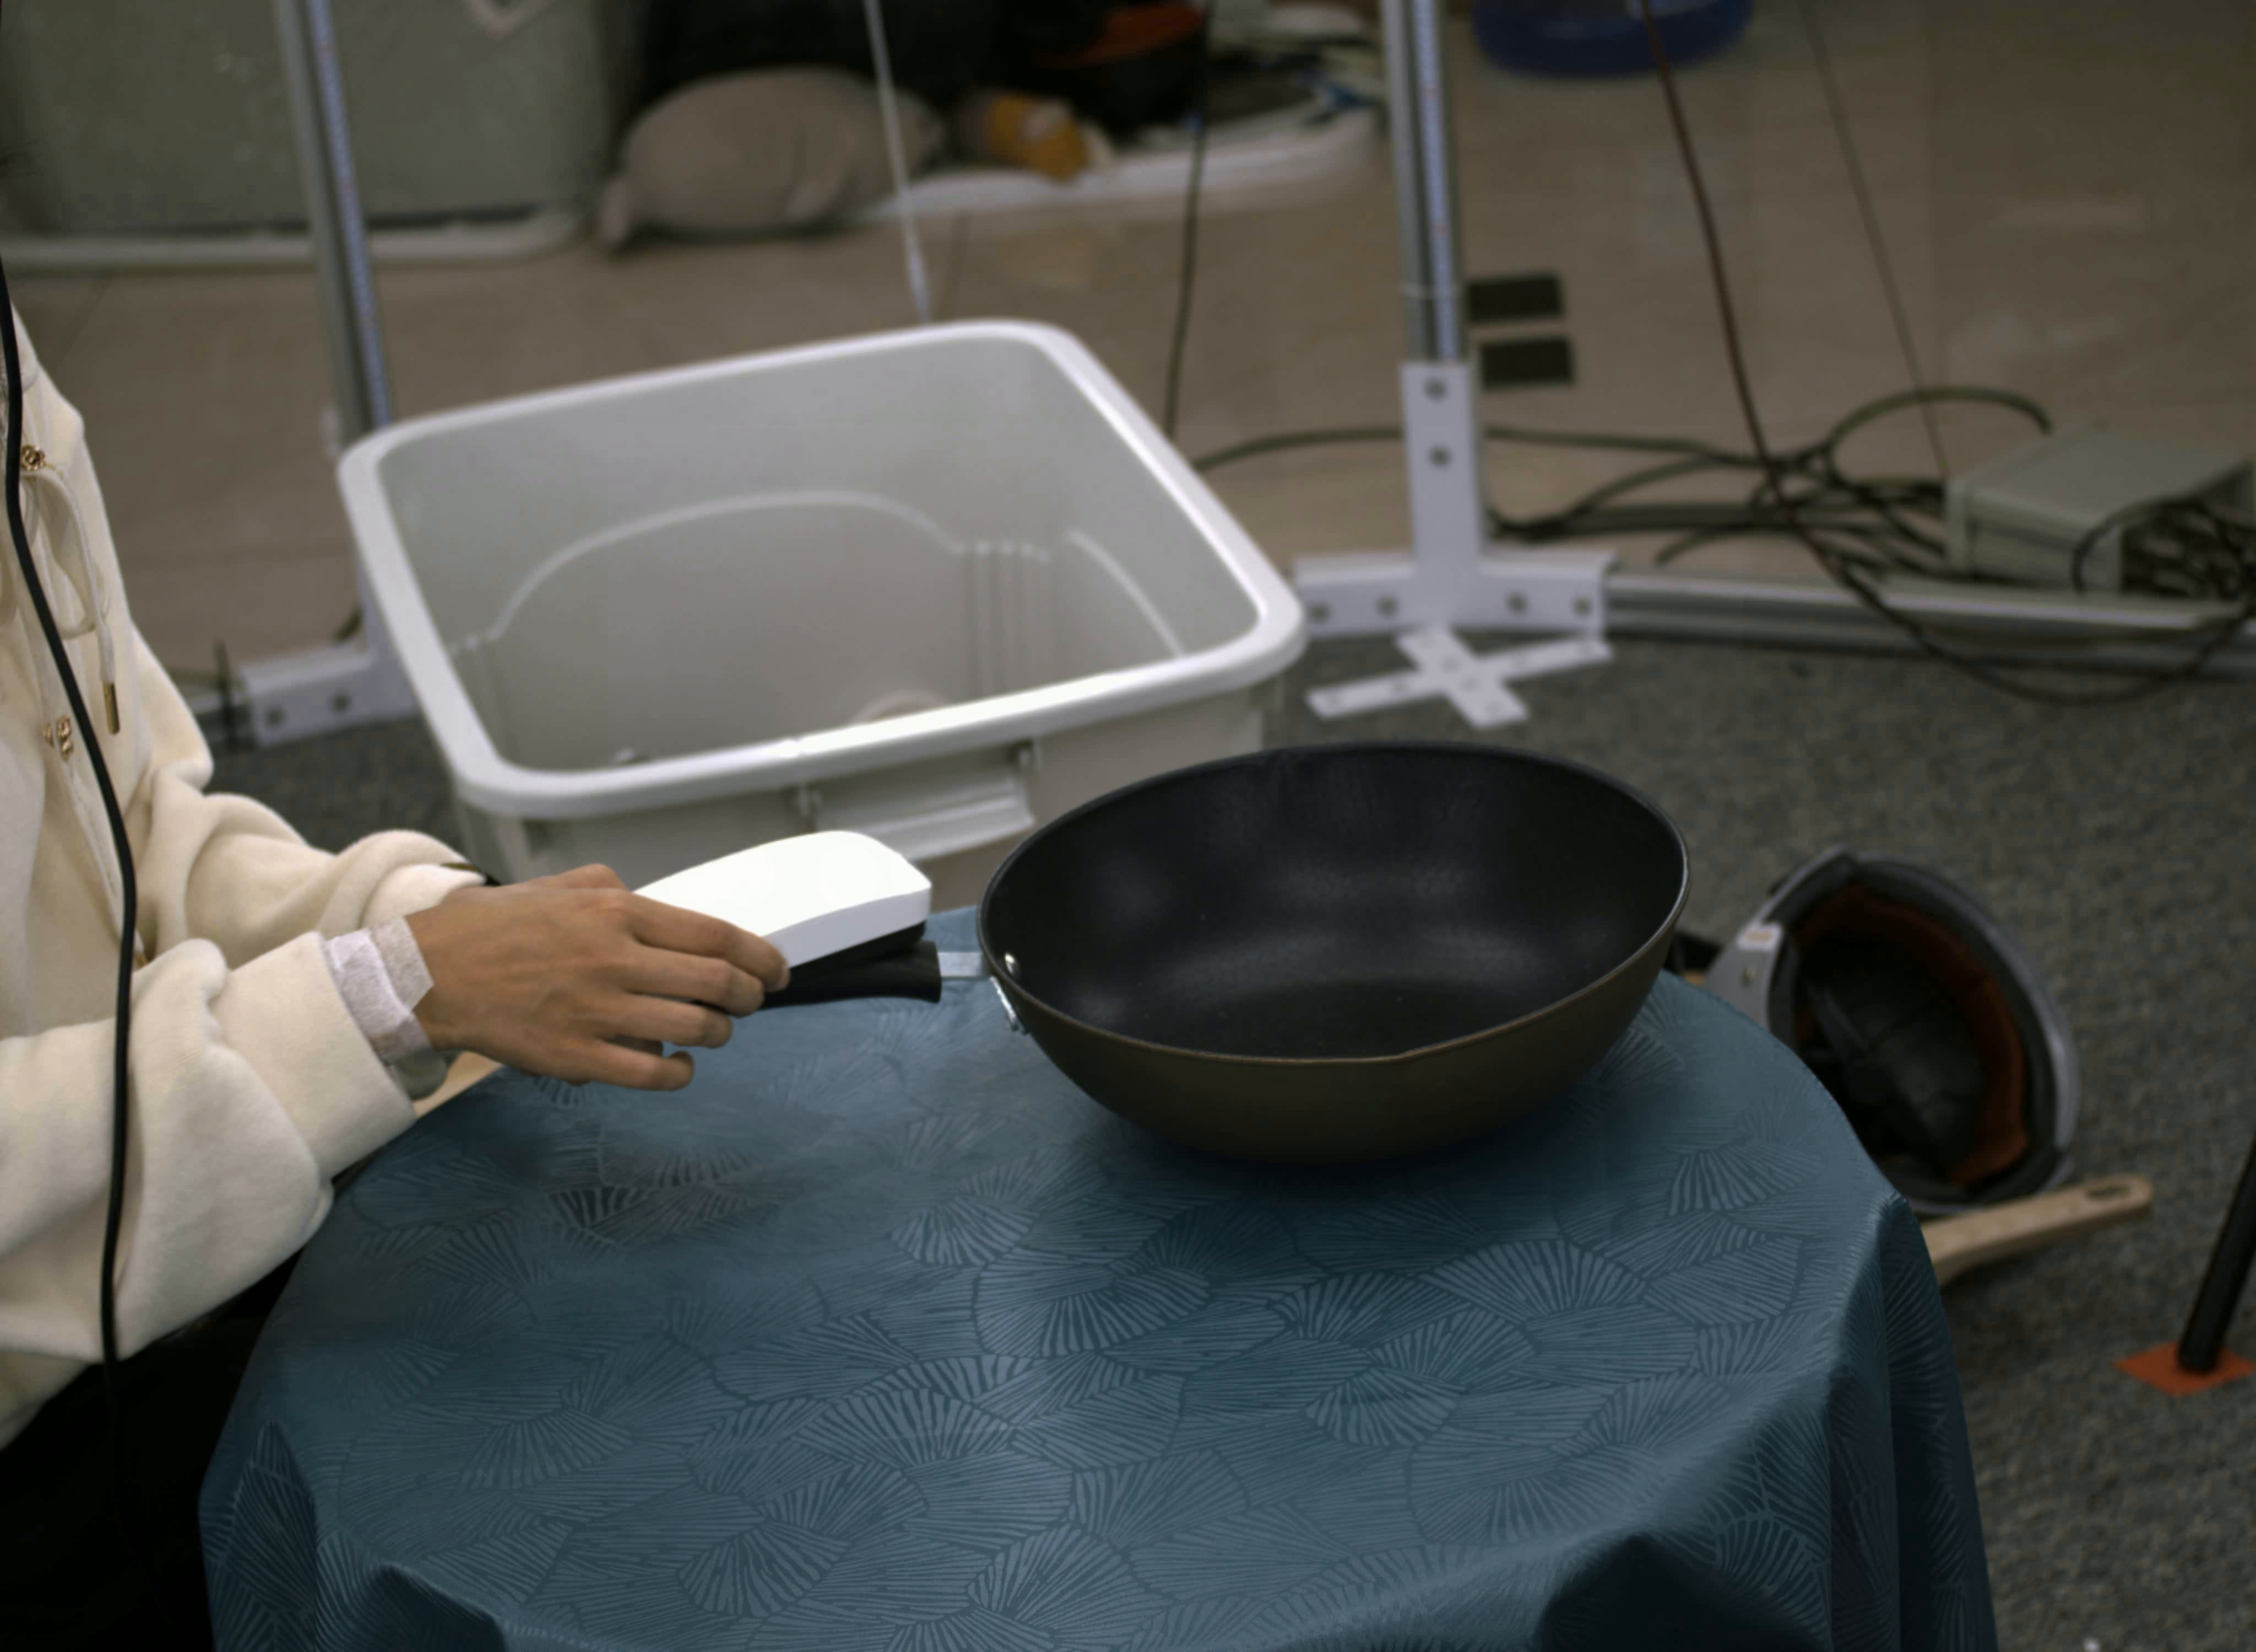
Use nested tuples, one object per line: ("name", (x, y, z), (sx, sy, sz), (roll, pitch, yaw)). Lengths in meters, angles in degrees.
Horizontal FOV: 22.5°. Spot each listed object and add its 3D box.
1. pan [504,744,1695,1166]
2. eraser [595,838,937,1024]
("pan", (-0.007, 0.072, 2.194), (0.462, 0.088, 0.284), (-8, 24, -2))
("eraser", (-0.137, 0.036, 2.153), (0.130, 0.035, 0.063), (-19, 31, -32))
